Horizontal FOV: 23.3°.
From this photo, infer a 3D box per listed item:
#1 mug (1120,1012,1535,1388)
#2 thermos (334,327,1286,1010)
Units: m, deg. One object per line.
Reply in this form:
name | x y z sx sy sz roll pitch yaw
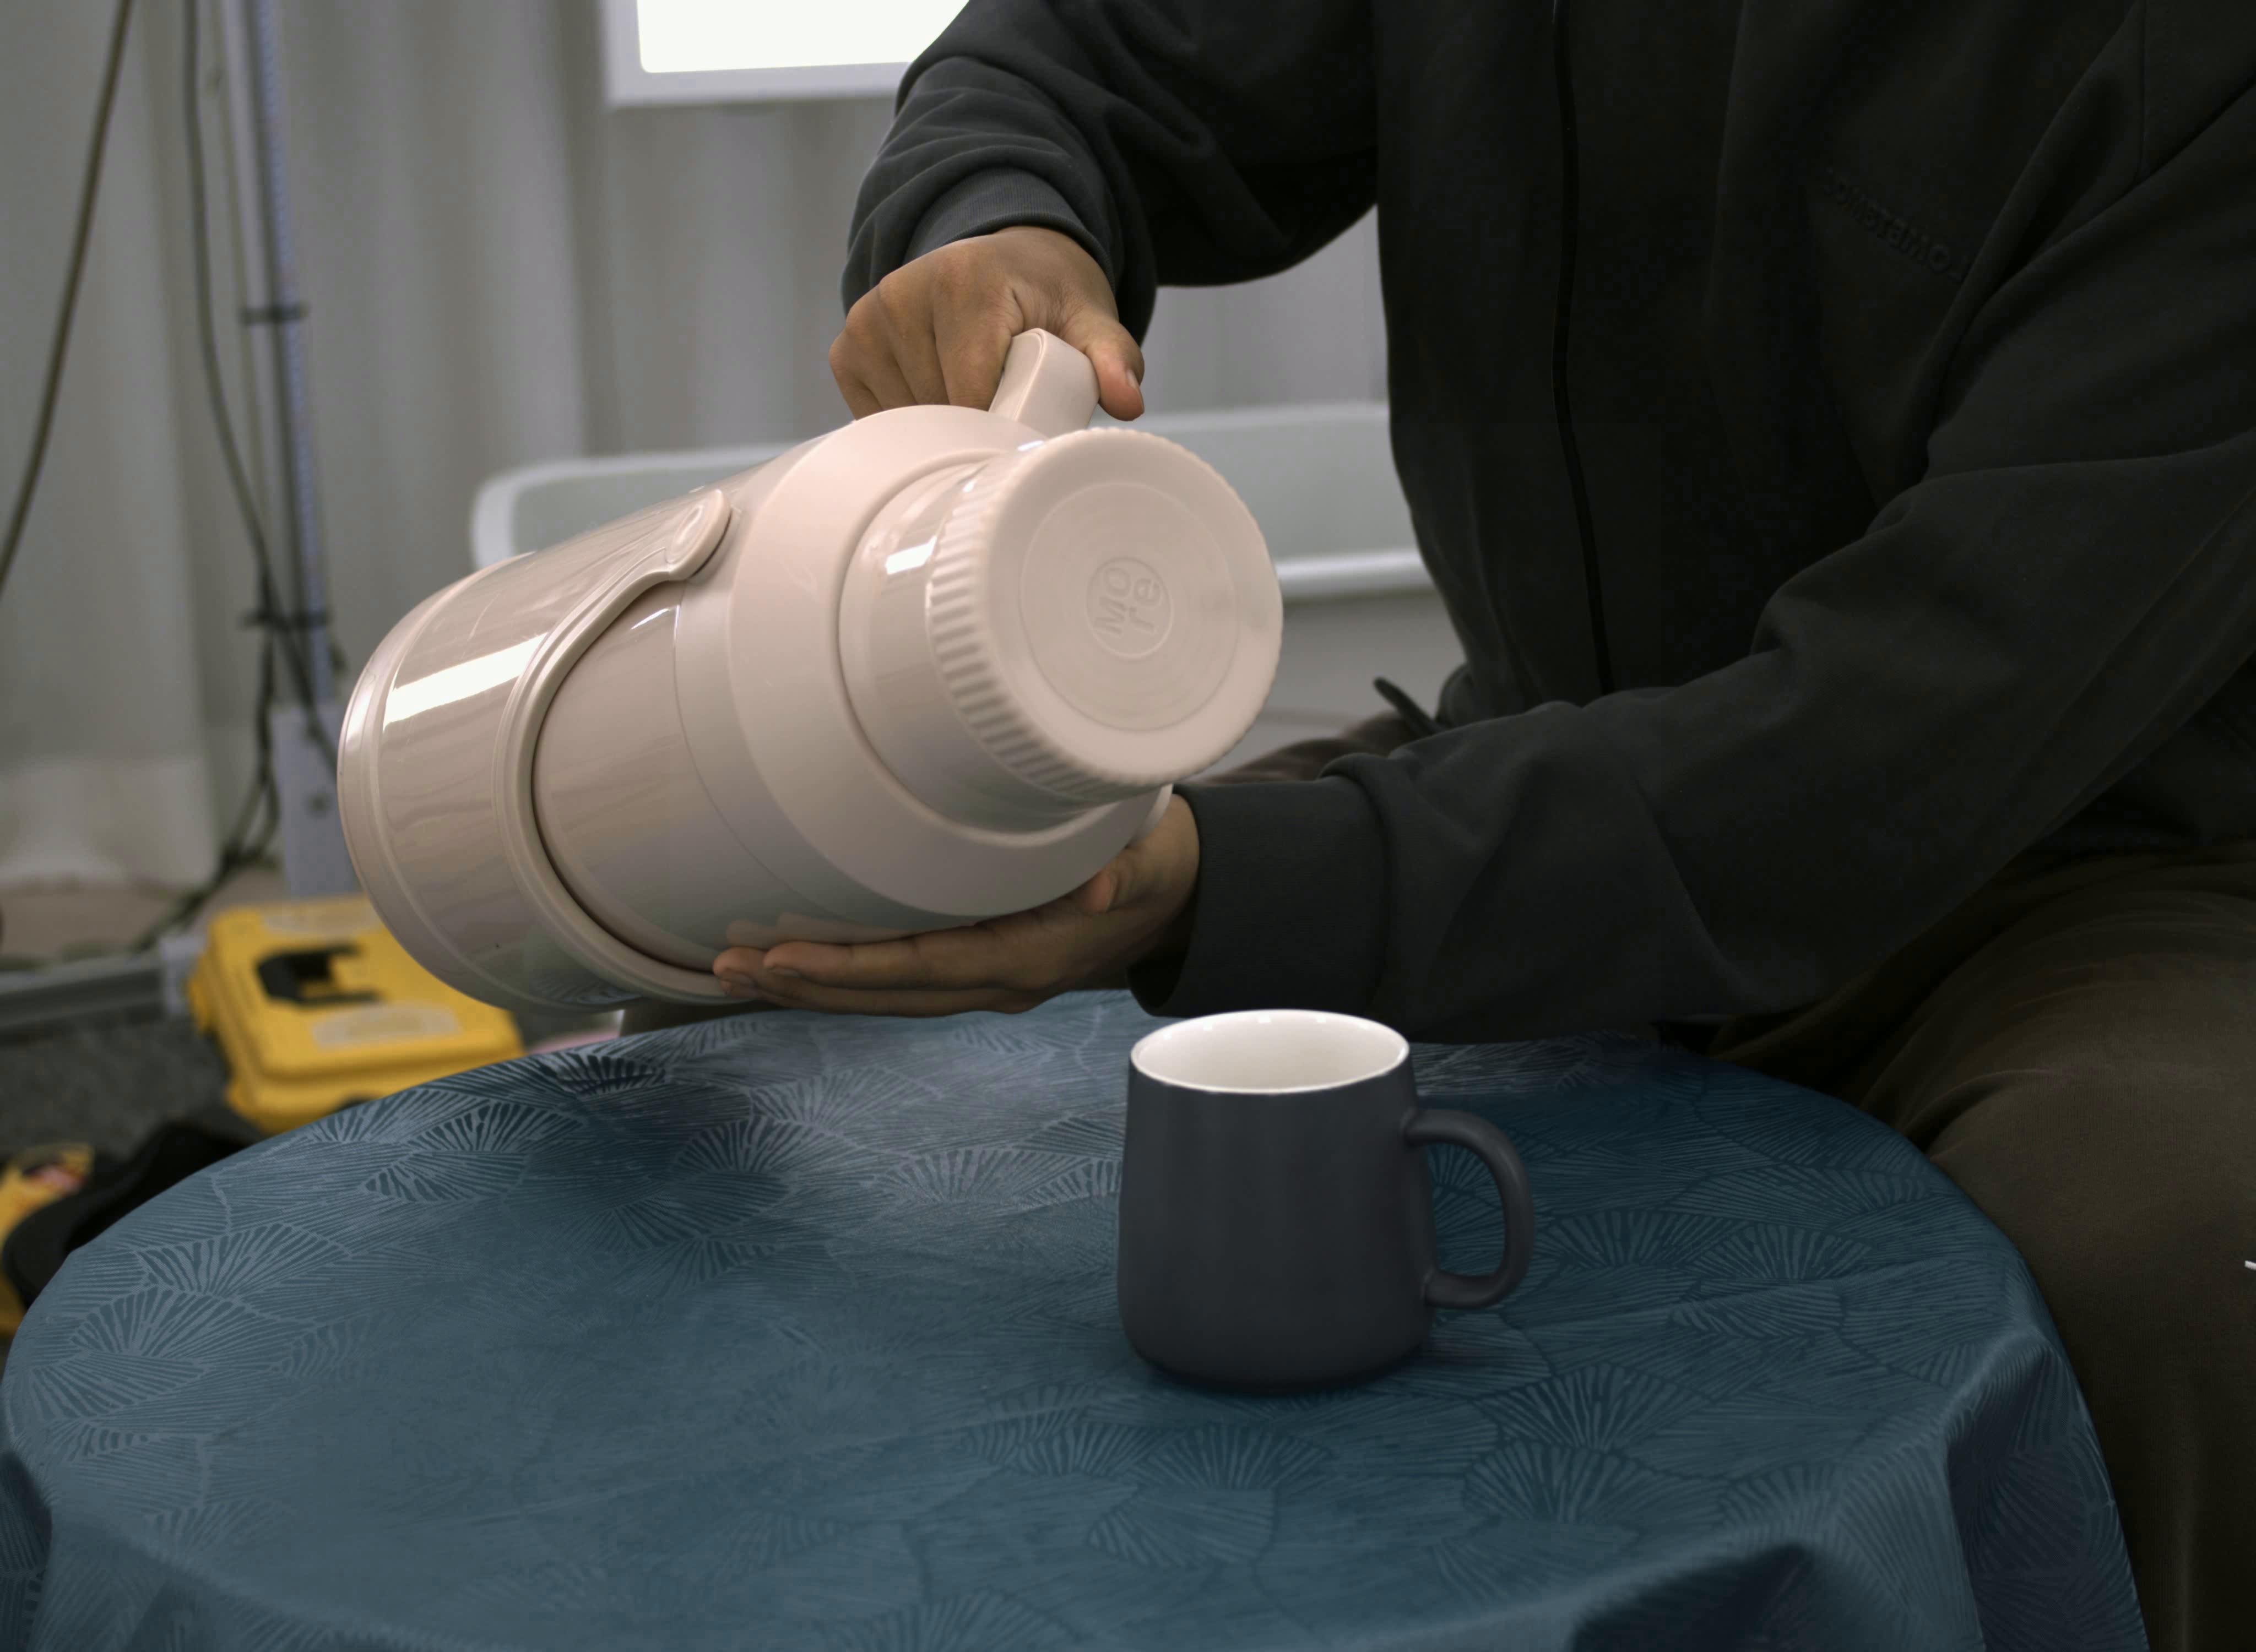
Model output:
mug | 0.057 0.108 1.559 0.123 0.089 0.094 3 15 23
thermos | -0.095 -0.051 1.733 0.174 0.209 0.406 31 -22 -23
